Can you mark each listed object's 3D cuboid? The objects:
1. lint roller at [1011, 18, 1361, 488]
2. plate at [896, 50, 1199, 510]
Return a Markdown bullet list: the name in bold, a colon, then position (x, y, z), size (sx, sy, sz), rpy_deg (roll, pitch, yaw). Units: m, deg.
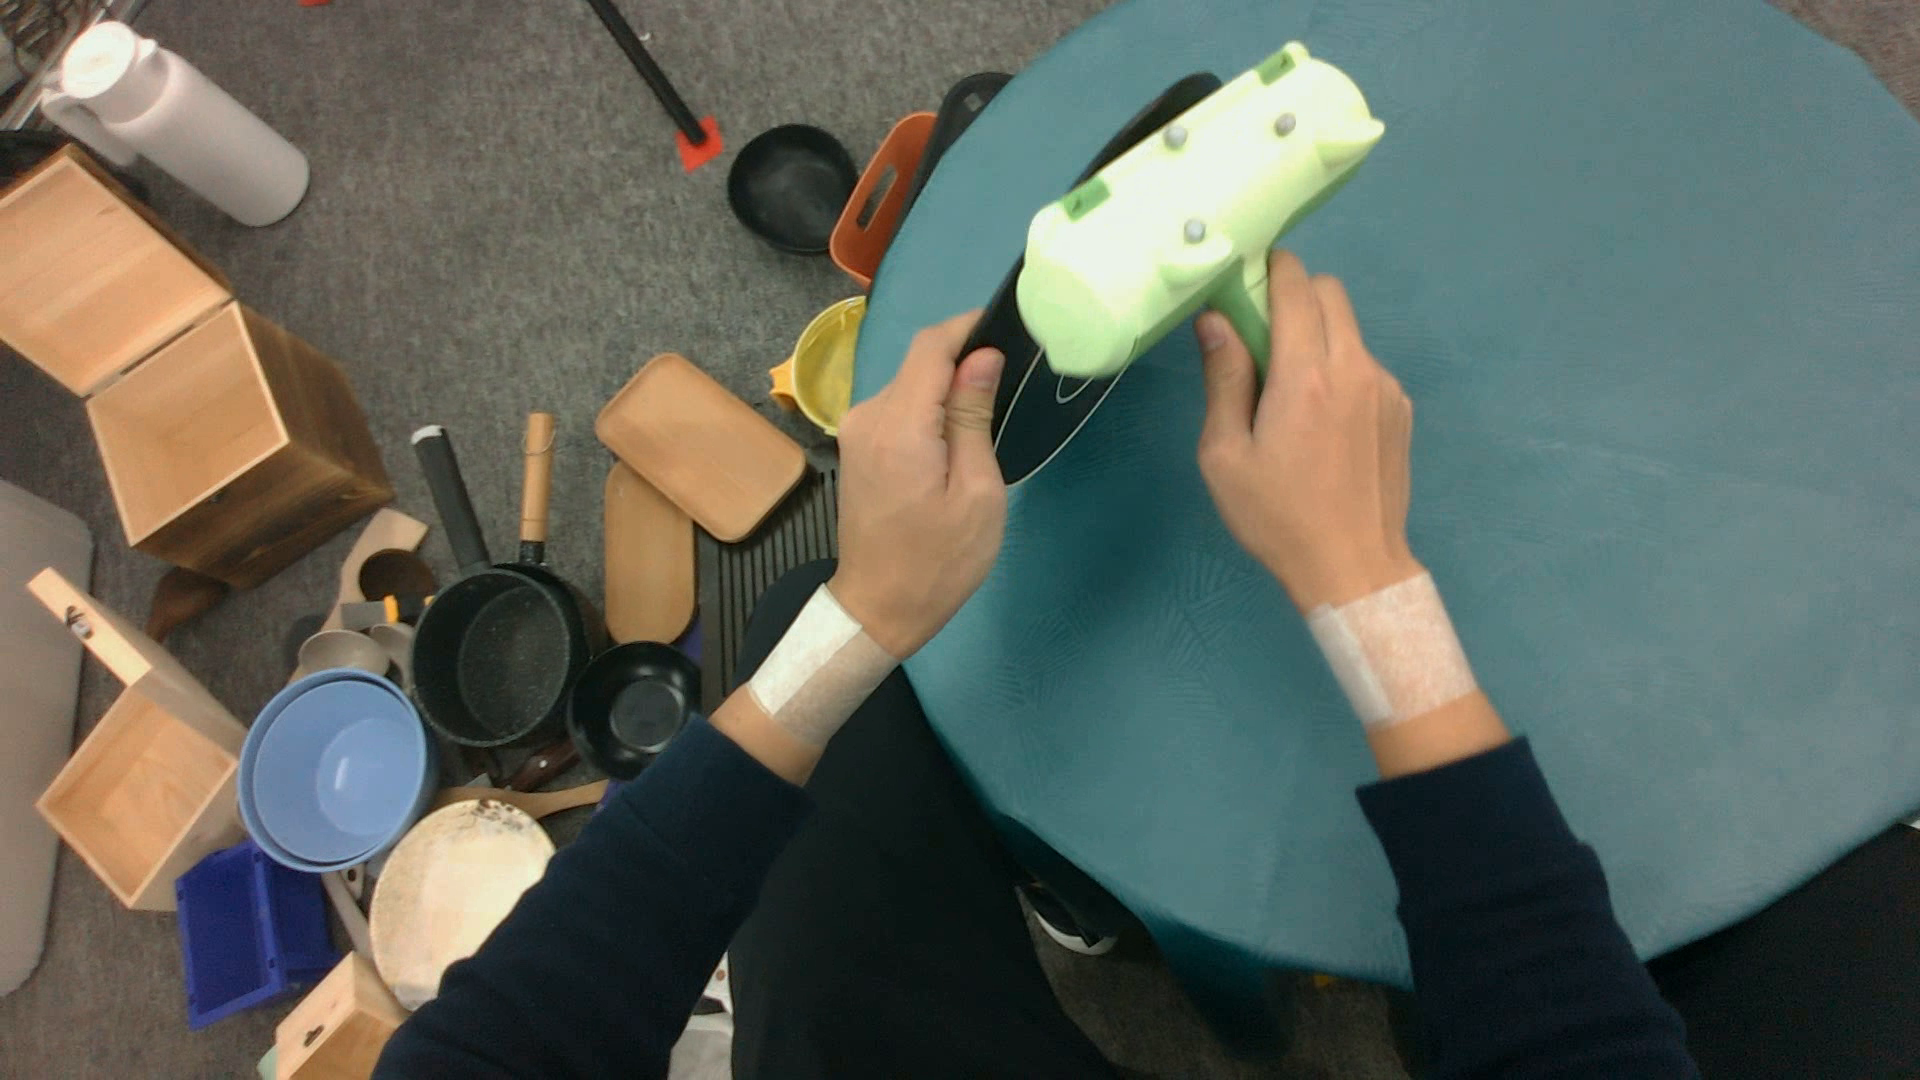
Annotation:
- **lint roller**: position (0.130, -0.104, 0.561), size (0.183, 0.082, 0.199), rpy_deg (52, 55, -8)
- **plate**: position (0.052, -0.111, 0.648), size (0.023, 0.244, 0.244), rpy_deg (34, 84, 12)
